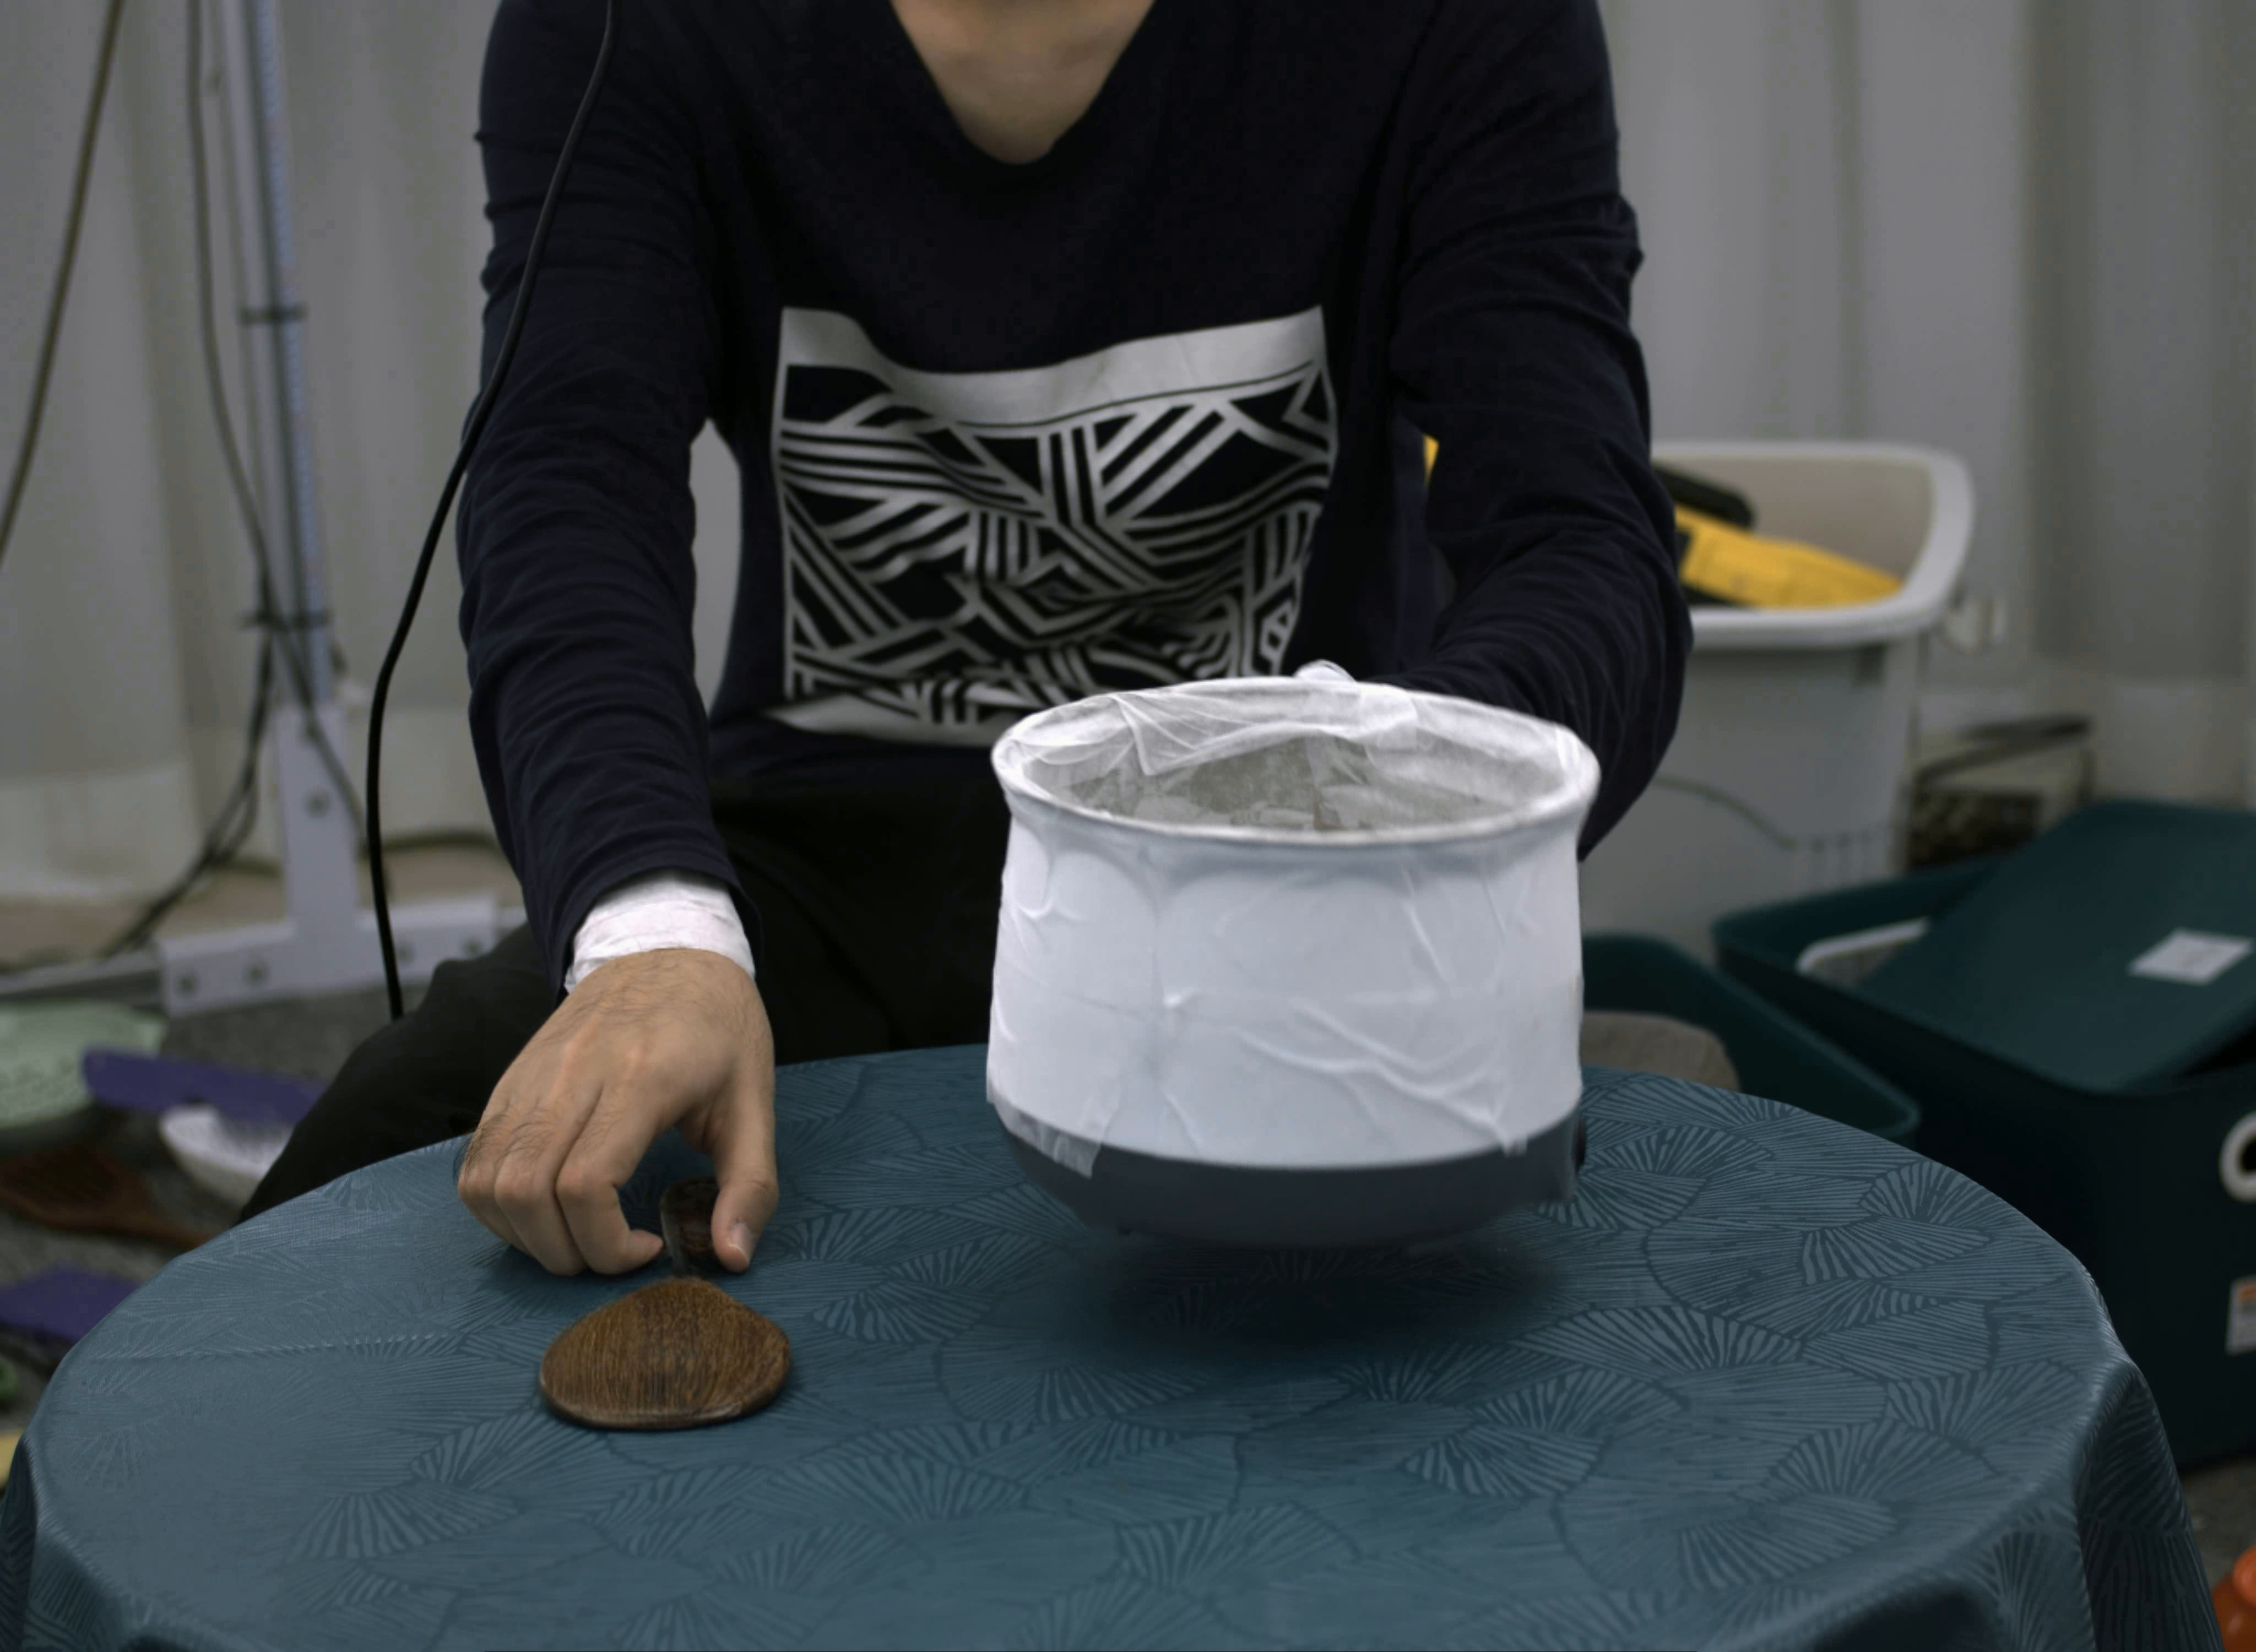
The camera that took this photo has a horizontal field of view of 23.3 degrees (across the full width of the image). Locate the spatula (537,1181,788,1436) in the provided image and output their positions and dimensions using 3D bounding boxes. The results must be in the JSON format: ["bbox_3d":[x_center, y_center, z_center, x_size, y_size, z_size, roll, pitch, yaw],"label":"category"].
[{"bbox_3d":[-0.132,0.141,1.635,0.071,0.009,0.217,-1,14,1],"label":"spatula"}]

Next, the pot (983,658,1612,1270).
[{"bbox_3d":[0.050,0.034,1.631,0.178,0.136,0.235,6,17,4],"label":"pot"}]
